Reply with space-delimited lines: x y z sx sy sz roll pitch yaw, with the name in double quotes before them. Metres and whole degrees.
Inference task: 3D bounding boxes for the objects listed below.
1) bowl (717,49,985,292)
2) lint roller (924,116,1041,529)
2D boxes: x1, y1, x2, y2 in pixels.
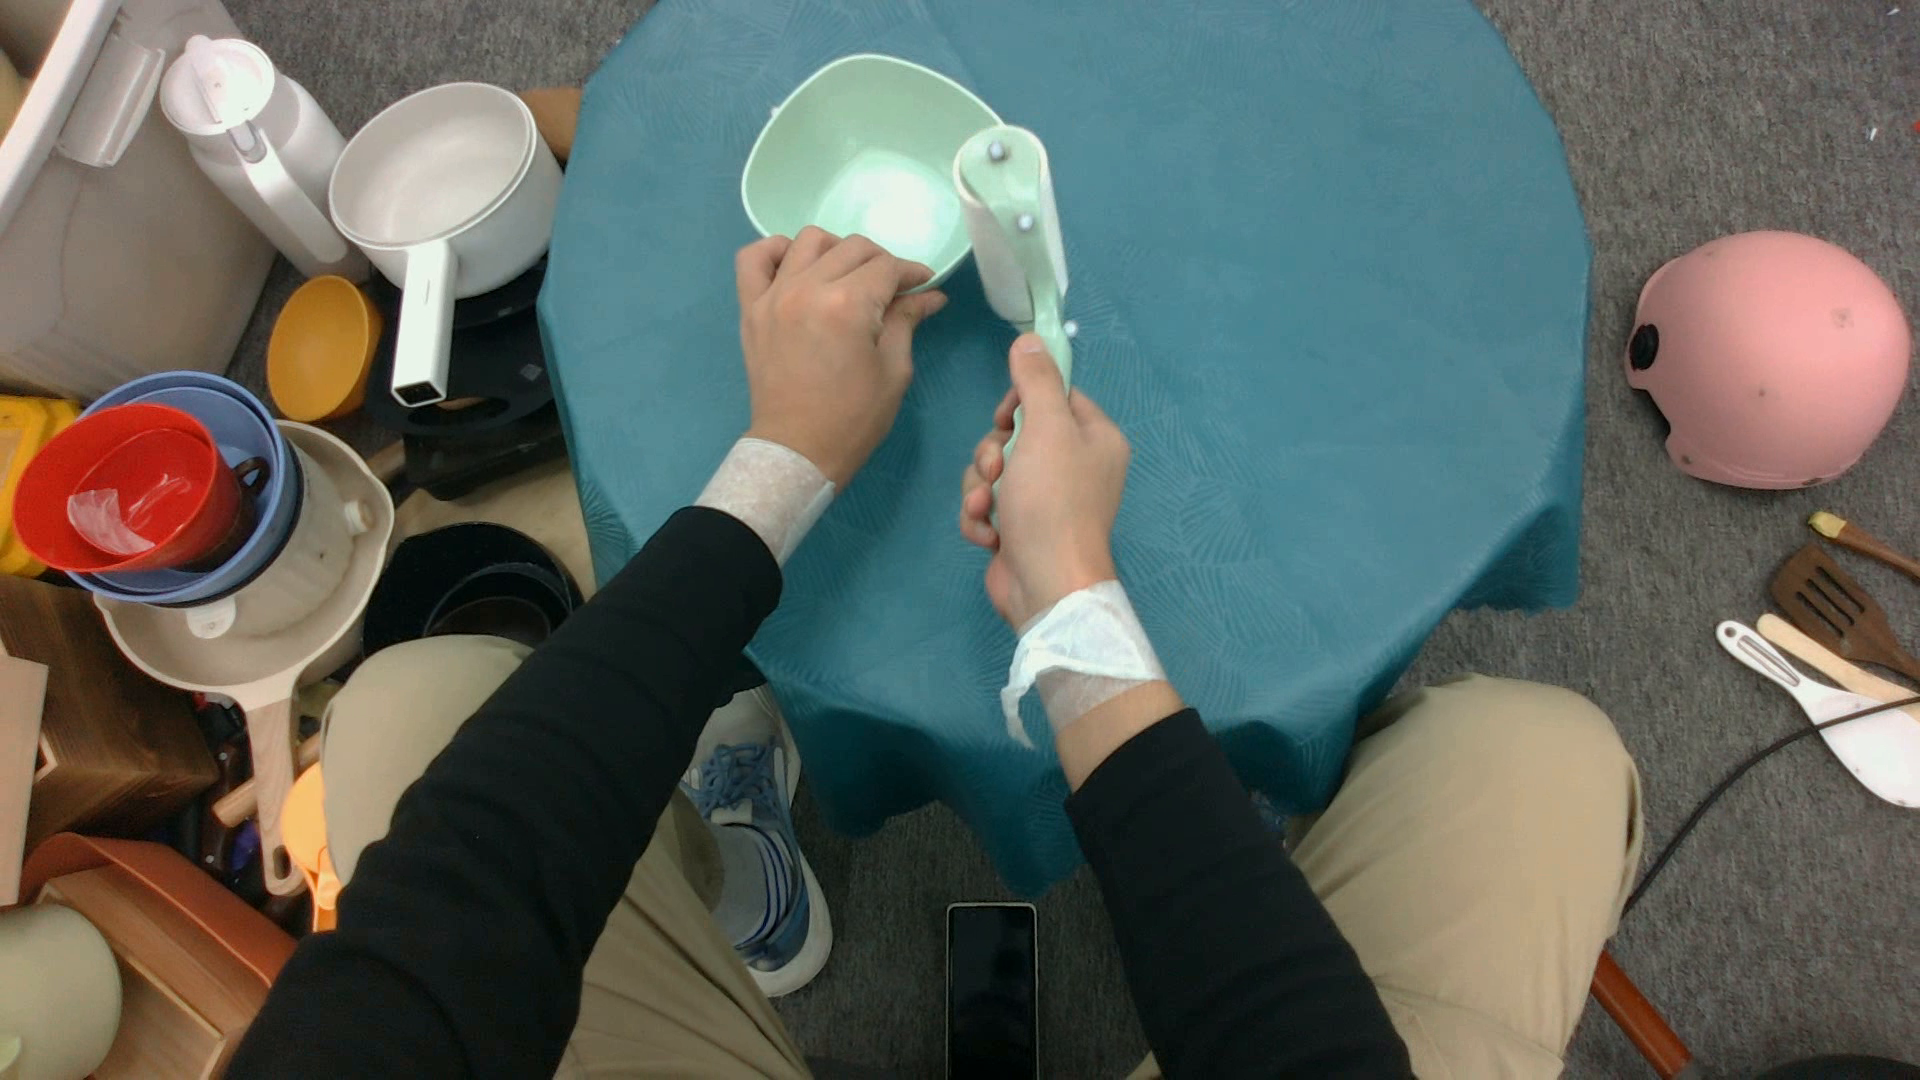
"bowl" -0.057 -0.198 0.778 0.151 0.058 0.152 0 71 1
"lint roller" 0.015 -0.100 0.676 0.048 0.116 0.198 -6 66 6
